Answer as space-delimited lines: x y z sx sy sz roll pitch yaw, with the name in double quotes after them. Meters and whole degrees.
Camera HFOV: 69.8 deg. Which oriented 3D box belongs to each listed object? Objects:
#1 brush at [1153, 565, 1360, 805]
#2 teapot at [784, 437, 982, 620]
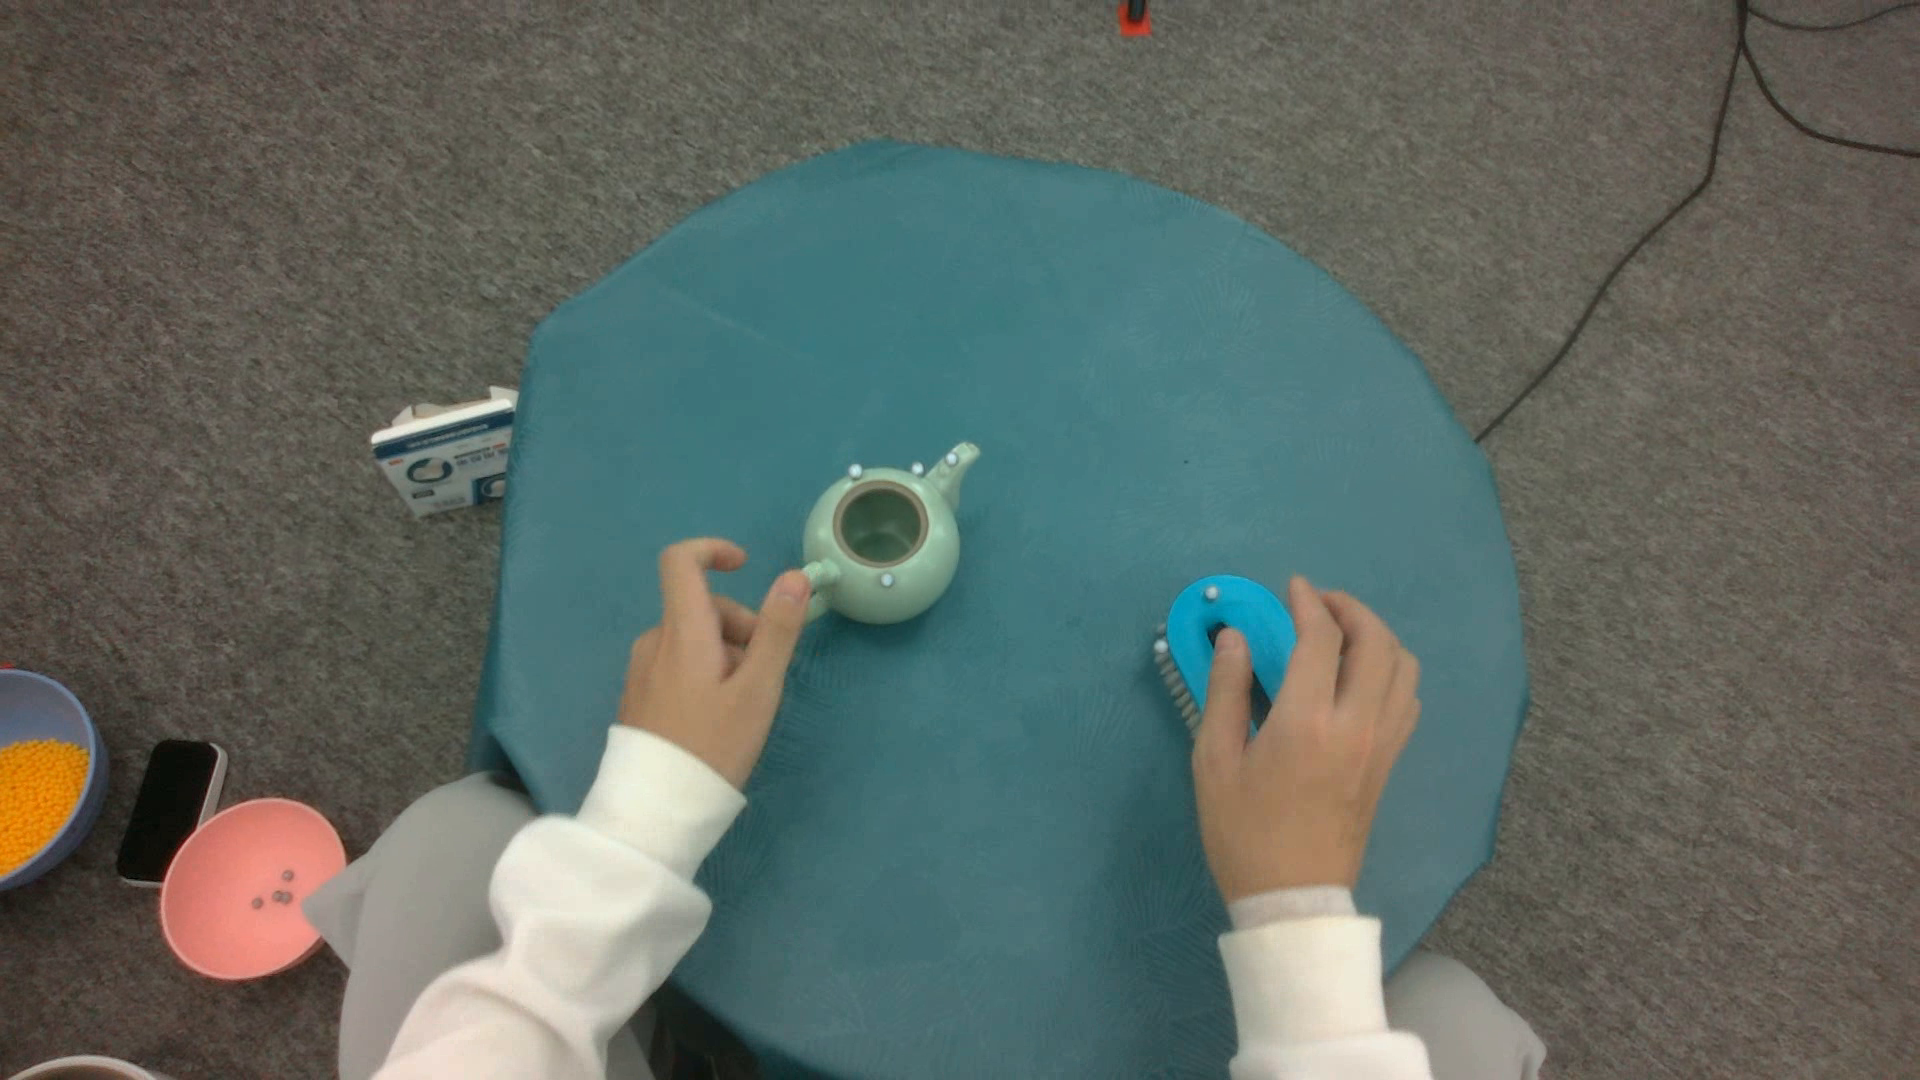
0.169 0.072 0.765 0.084 0.063 0.142 -19 67 -16 "brush"
-0.043 0.000 0.786 0.144 0.074 0.088 -38 74 -21 "teapot"
